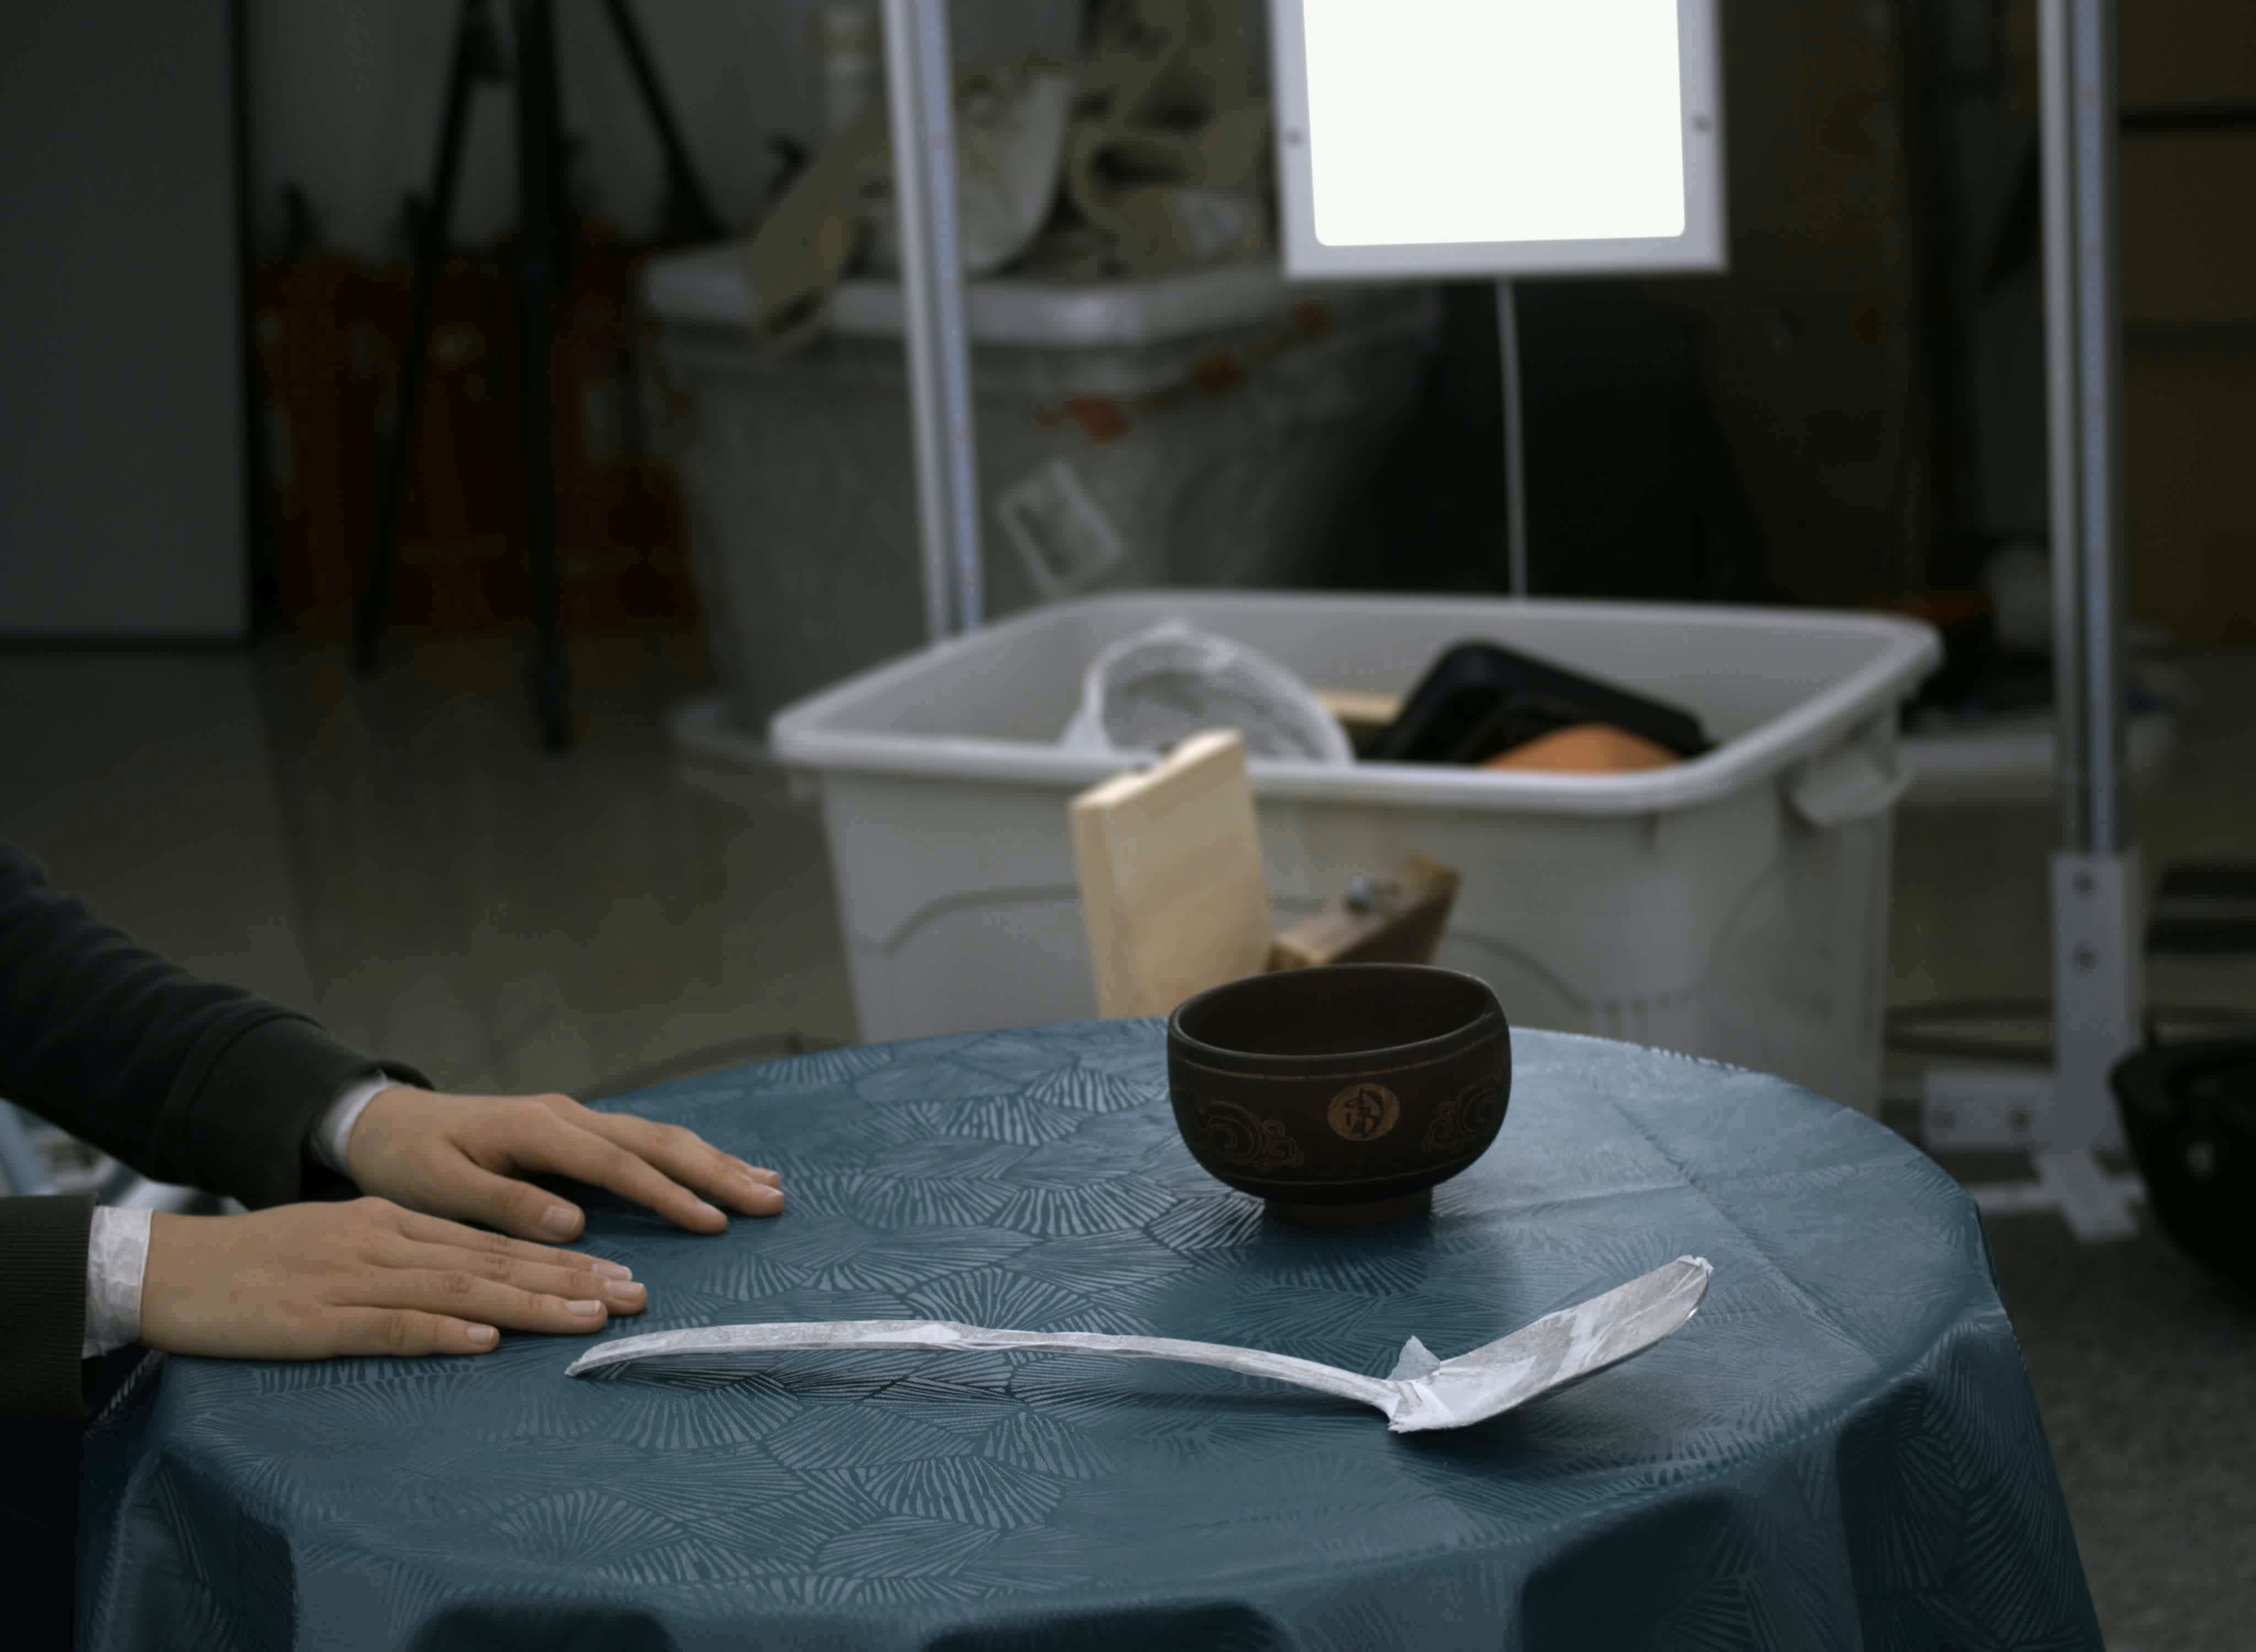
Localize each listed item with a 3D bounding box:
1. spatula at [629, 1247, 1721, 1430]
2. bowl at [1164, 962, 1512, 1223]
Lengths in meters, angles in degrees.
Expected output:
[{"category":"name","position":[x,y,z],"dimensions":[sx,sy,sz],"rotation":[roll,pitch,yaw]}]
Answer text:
[{"category":"spatula","position":[0.003,0.155,1.696],"dimensions":[0.370,0.045,0.097],"rotation":[1,17,23]},{"category":"bowl","position":[0.072,0.093,1.857],"dimensions":[0.118,0.070,0.118],"rotation":[-5,12,0]}]
